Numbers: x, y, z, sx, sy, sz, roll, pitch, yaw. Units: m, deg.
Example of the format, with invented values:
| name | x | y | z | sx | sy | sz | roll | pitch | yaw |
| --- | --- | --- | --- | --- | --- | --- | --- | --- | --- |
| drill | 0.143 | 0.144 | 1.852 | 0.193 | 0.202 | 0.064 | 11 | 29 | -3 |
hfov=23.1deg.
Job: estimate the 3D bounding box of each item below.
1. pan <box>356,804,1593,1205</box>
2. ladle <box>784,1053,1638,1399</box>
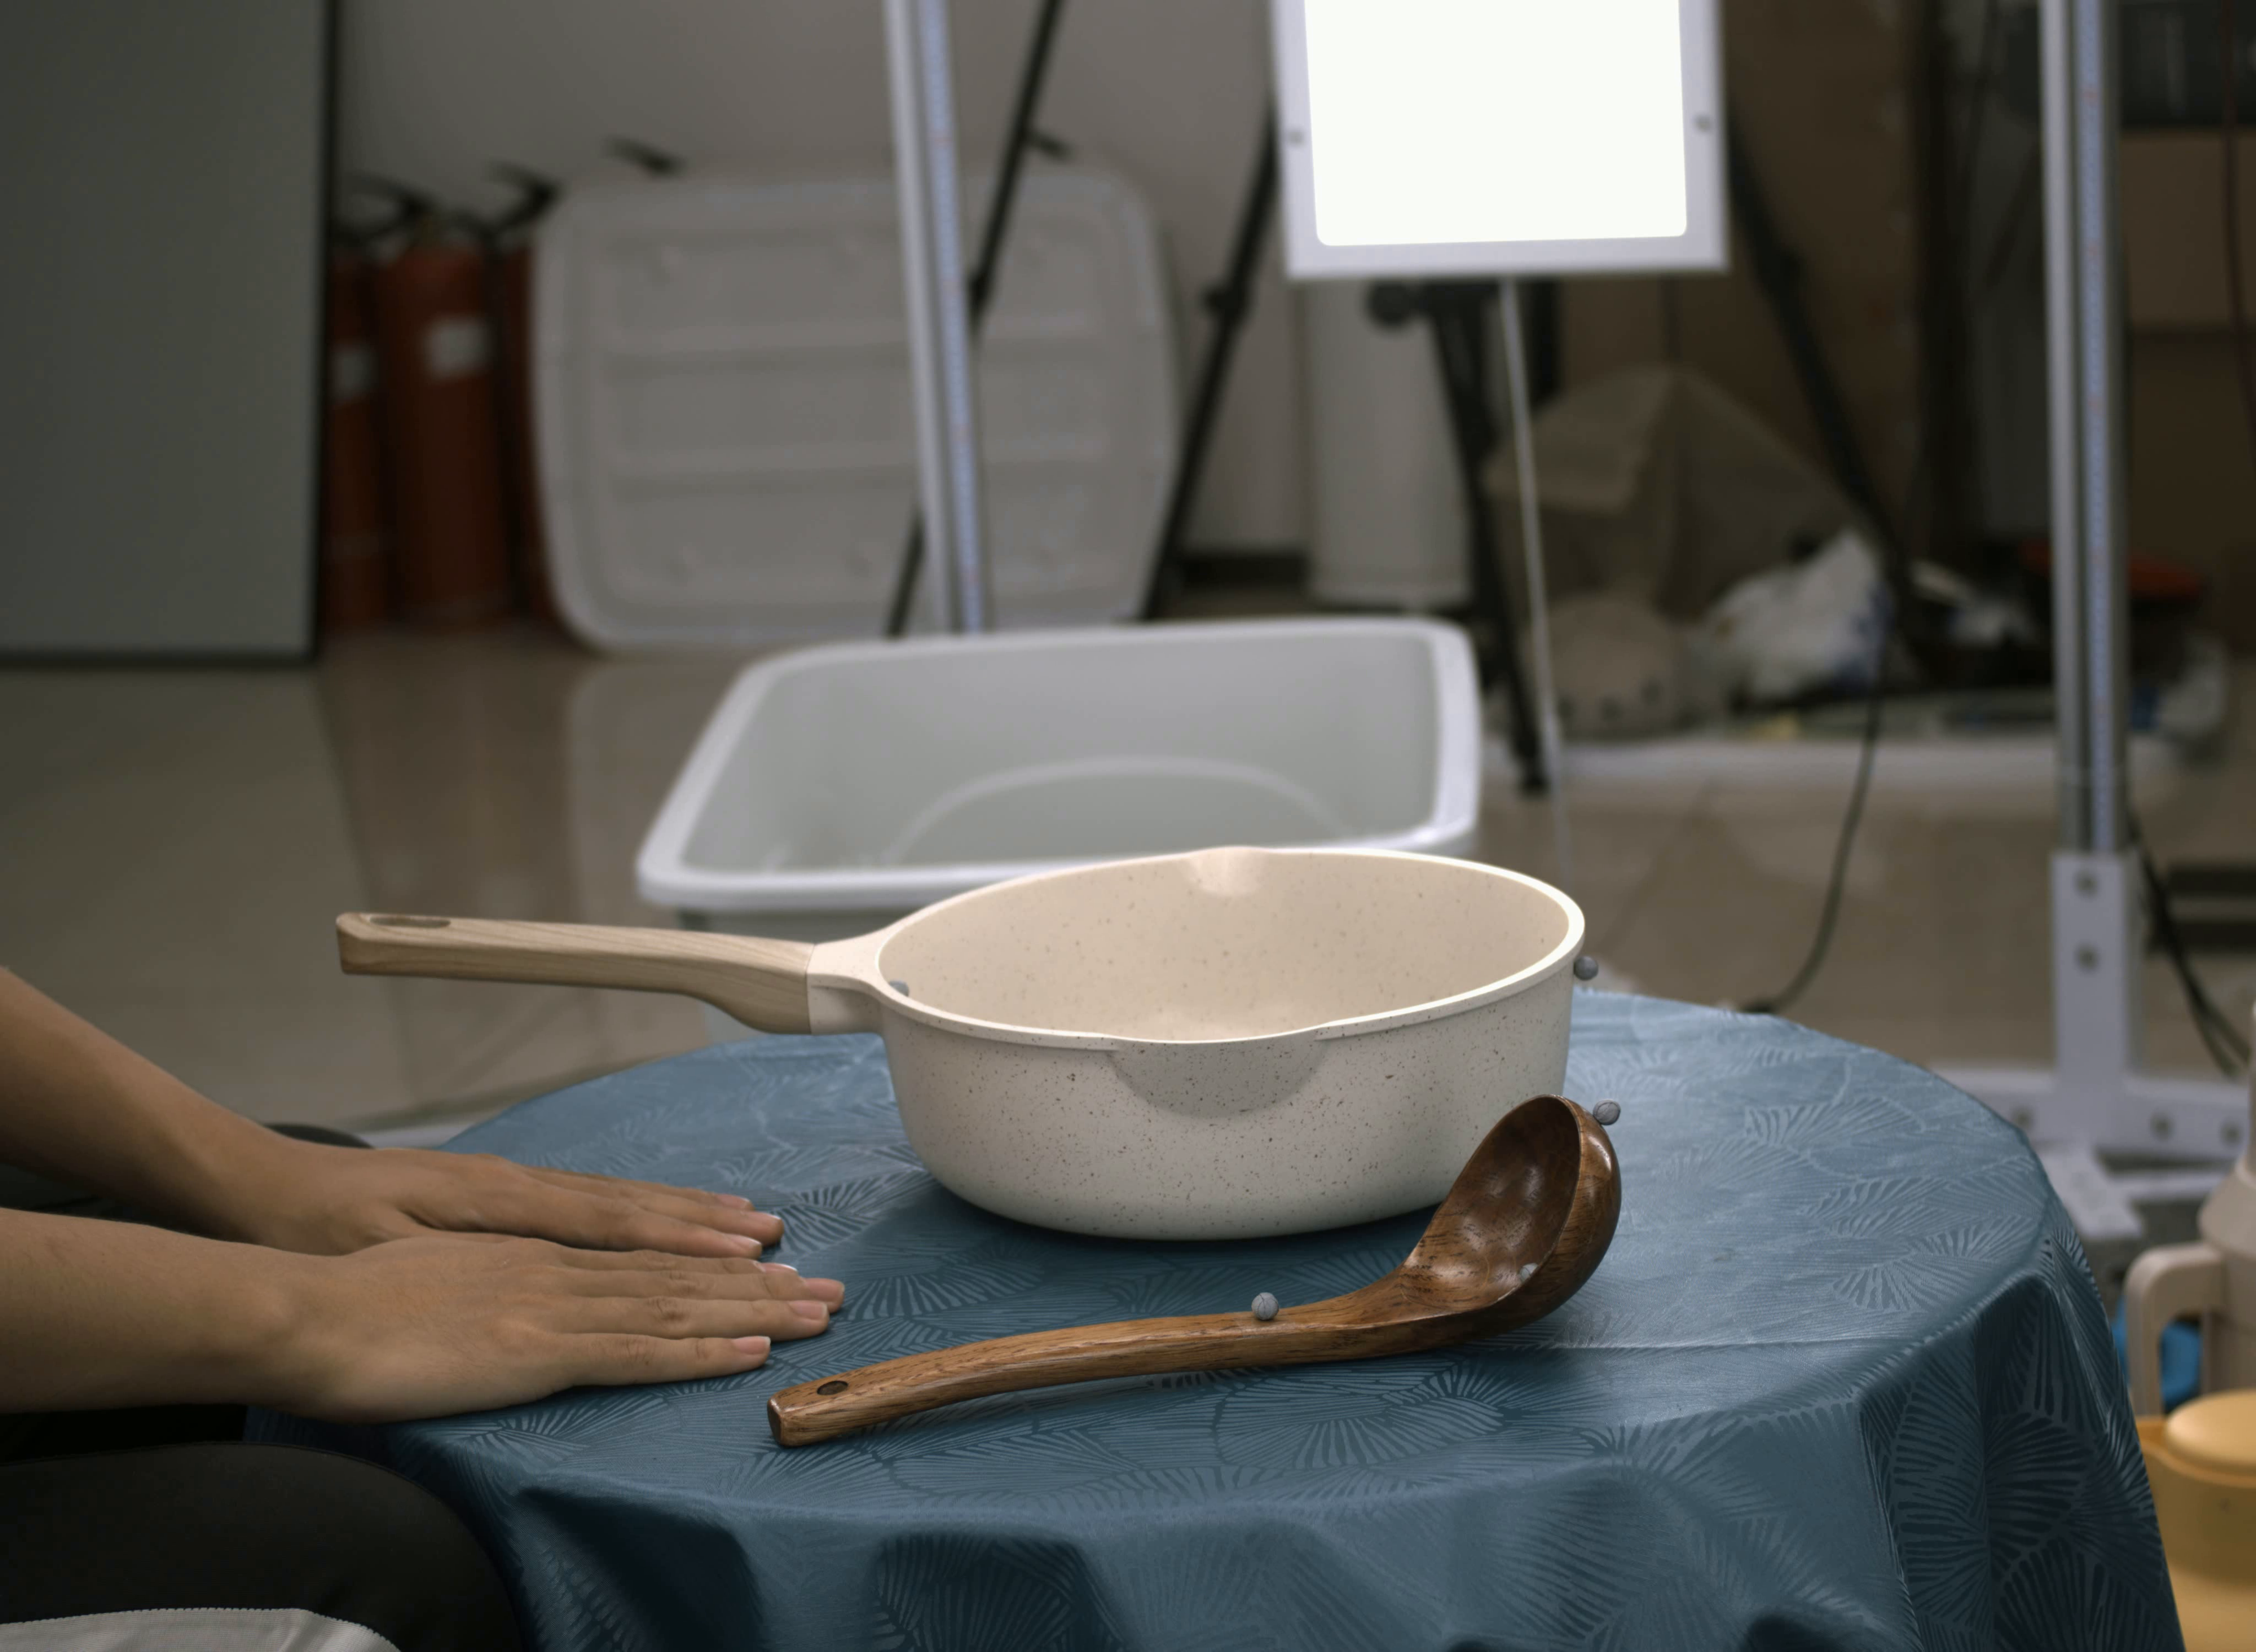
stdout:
| name | x | y | z | sx | sy | sz | roll | pitch | yaw |
| --- | --- | --- | --- | --- | --- | --- | --- | --- | --- |
| pan | -0.051 | 0.063 | 1.941 | 0.435 | 0.102 | 0.262 | -4 | 15 | 5 |
| ladle | 0.027 | 0.123 | 1.707 | 0.271 | 0.077 | 0.082 | -7 | 15 | -9 |
